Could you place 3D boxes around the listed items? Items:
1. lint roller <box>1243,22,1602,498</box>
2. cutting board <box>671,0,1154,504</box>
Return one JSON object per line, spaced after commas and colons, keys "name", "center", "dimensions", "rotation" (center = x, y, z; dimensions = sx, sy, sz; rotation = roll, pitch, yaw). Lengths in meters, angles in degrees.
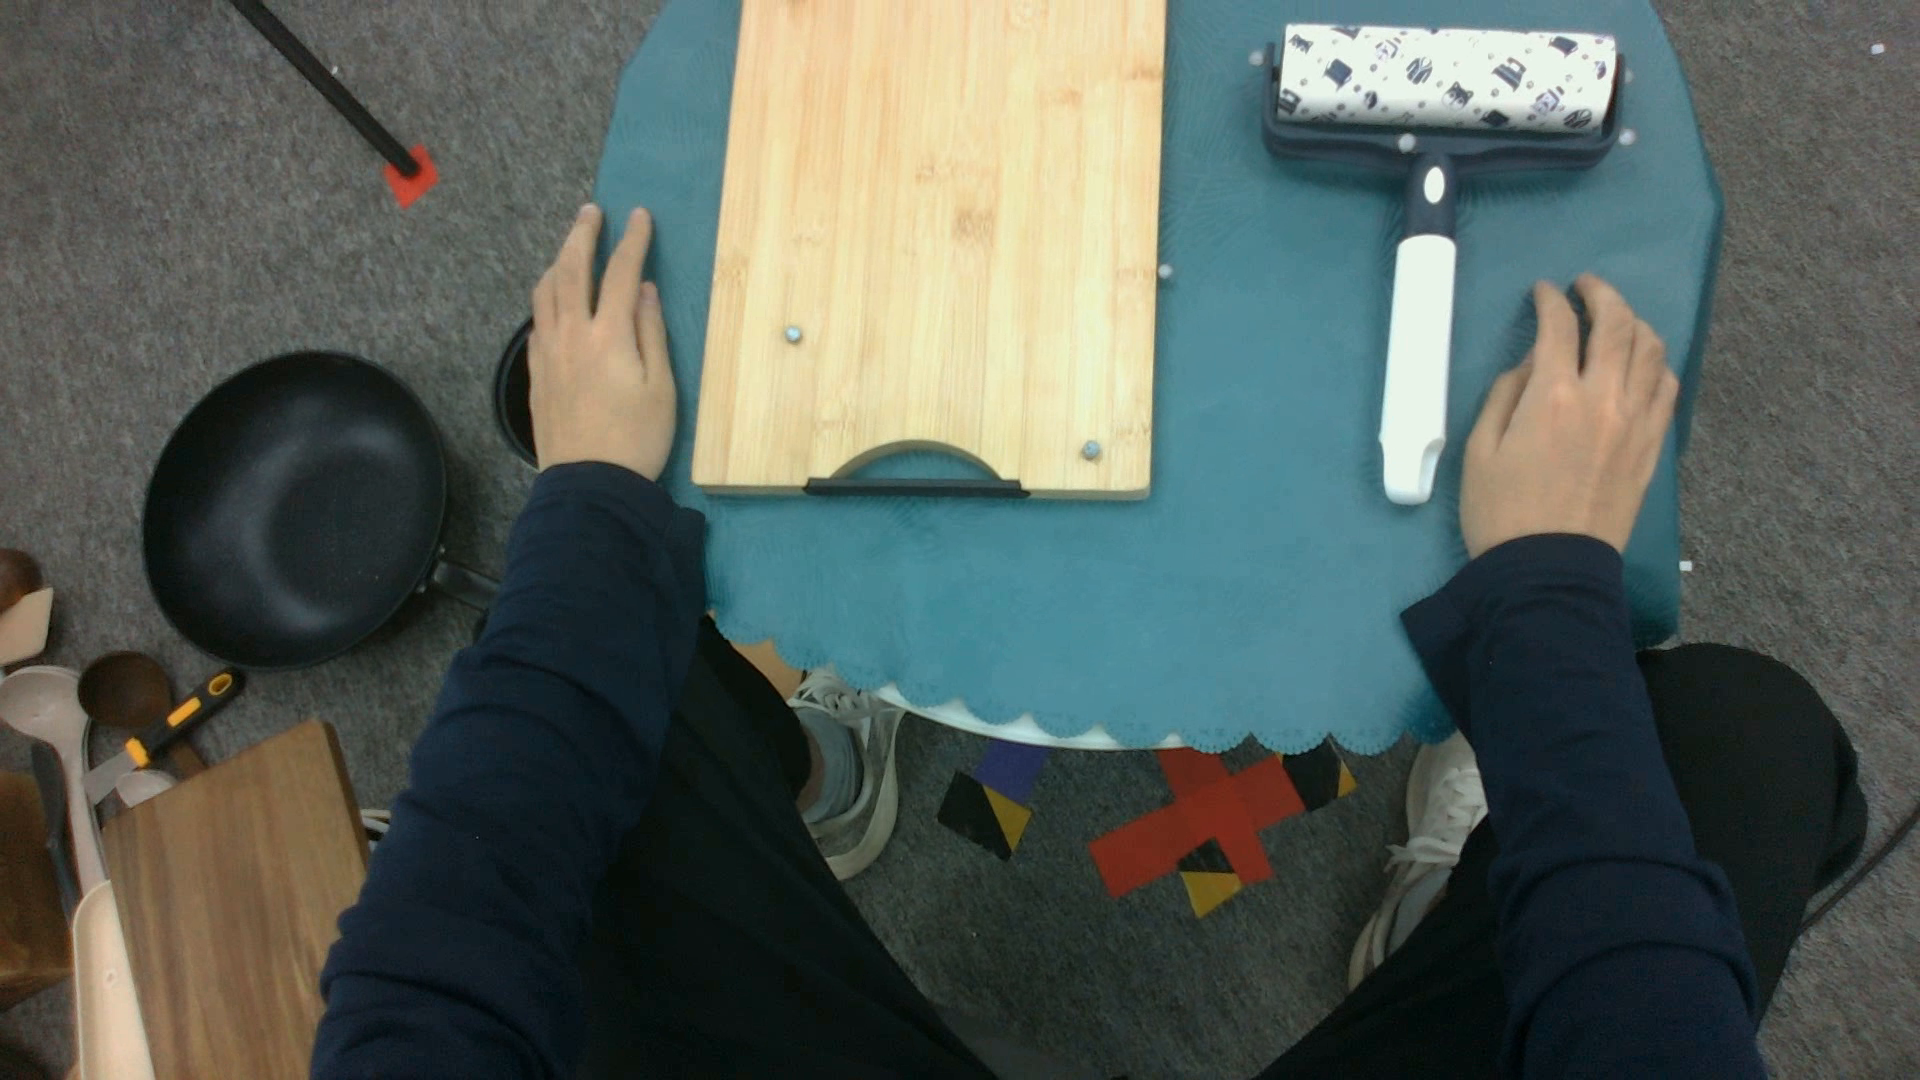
{"name": "lint roller", "center": [0.227, -0.144, 0.694], "dimensions": [0.176, 0.050, 0.247], "rotation": [5, 78, 8]}
{"name": "cutting board", "center": [-0.020, -0.189, 0.753], "dimensions": [0.250, 0.023, 0.349], "rotation": [0, 75, 8]}
